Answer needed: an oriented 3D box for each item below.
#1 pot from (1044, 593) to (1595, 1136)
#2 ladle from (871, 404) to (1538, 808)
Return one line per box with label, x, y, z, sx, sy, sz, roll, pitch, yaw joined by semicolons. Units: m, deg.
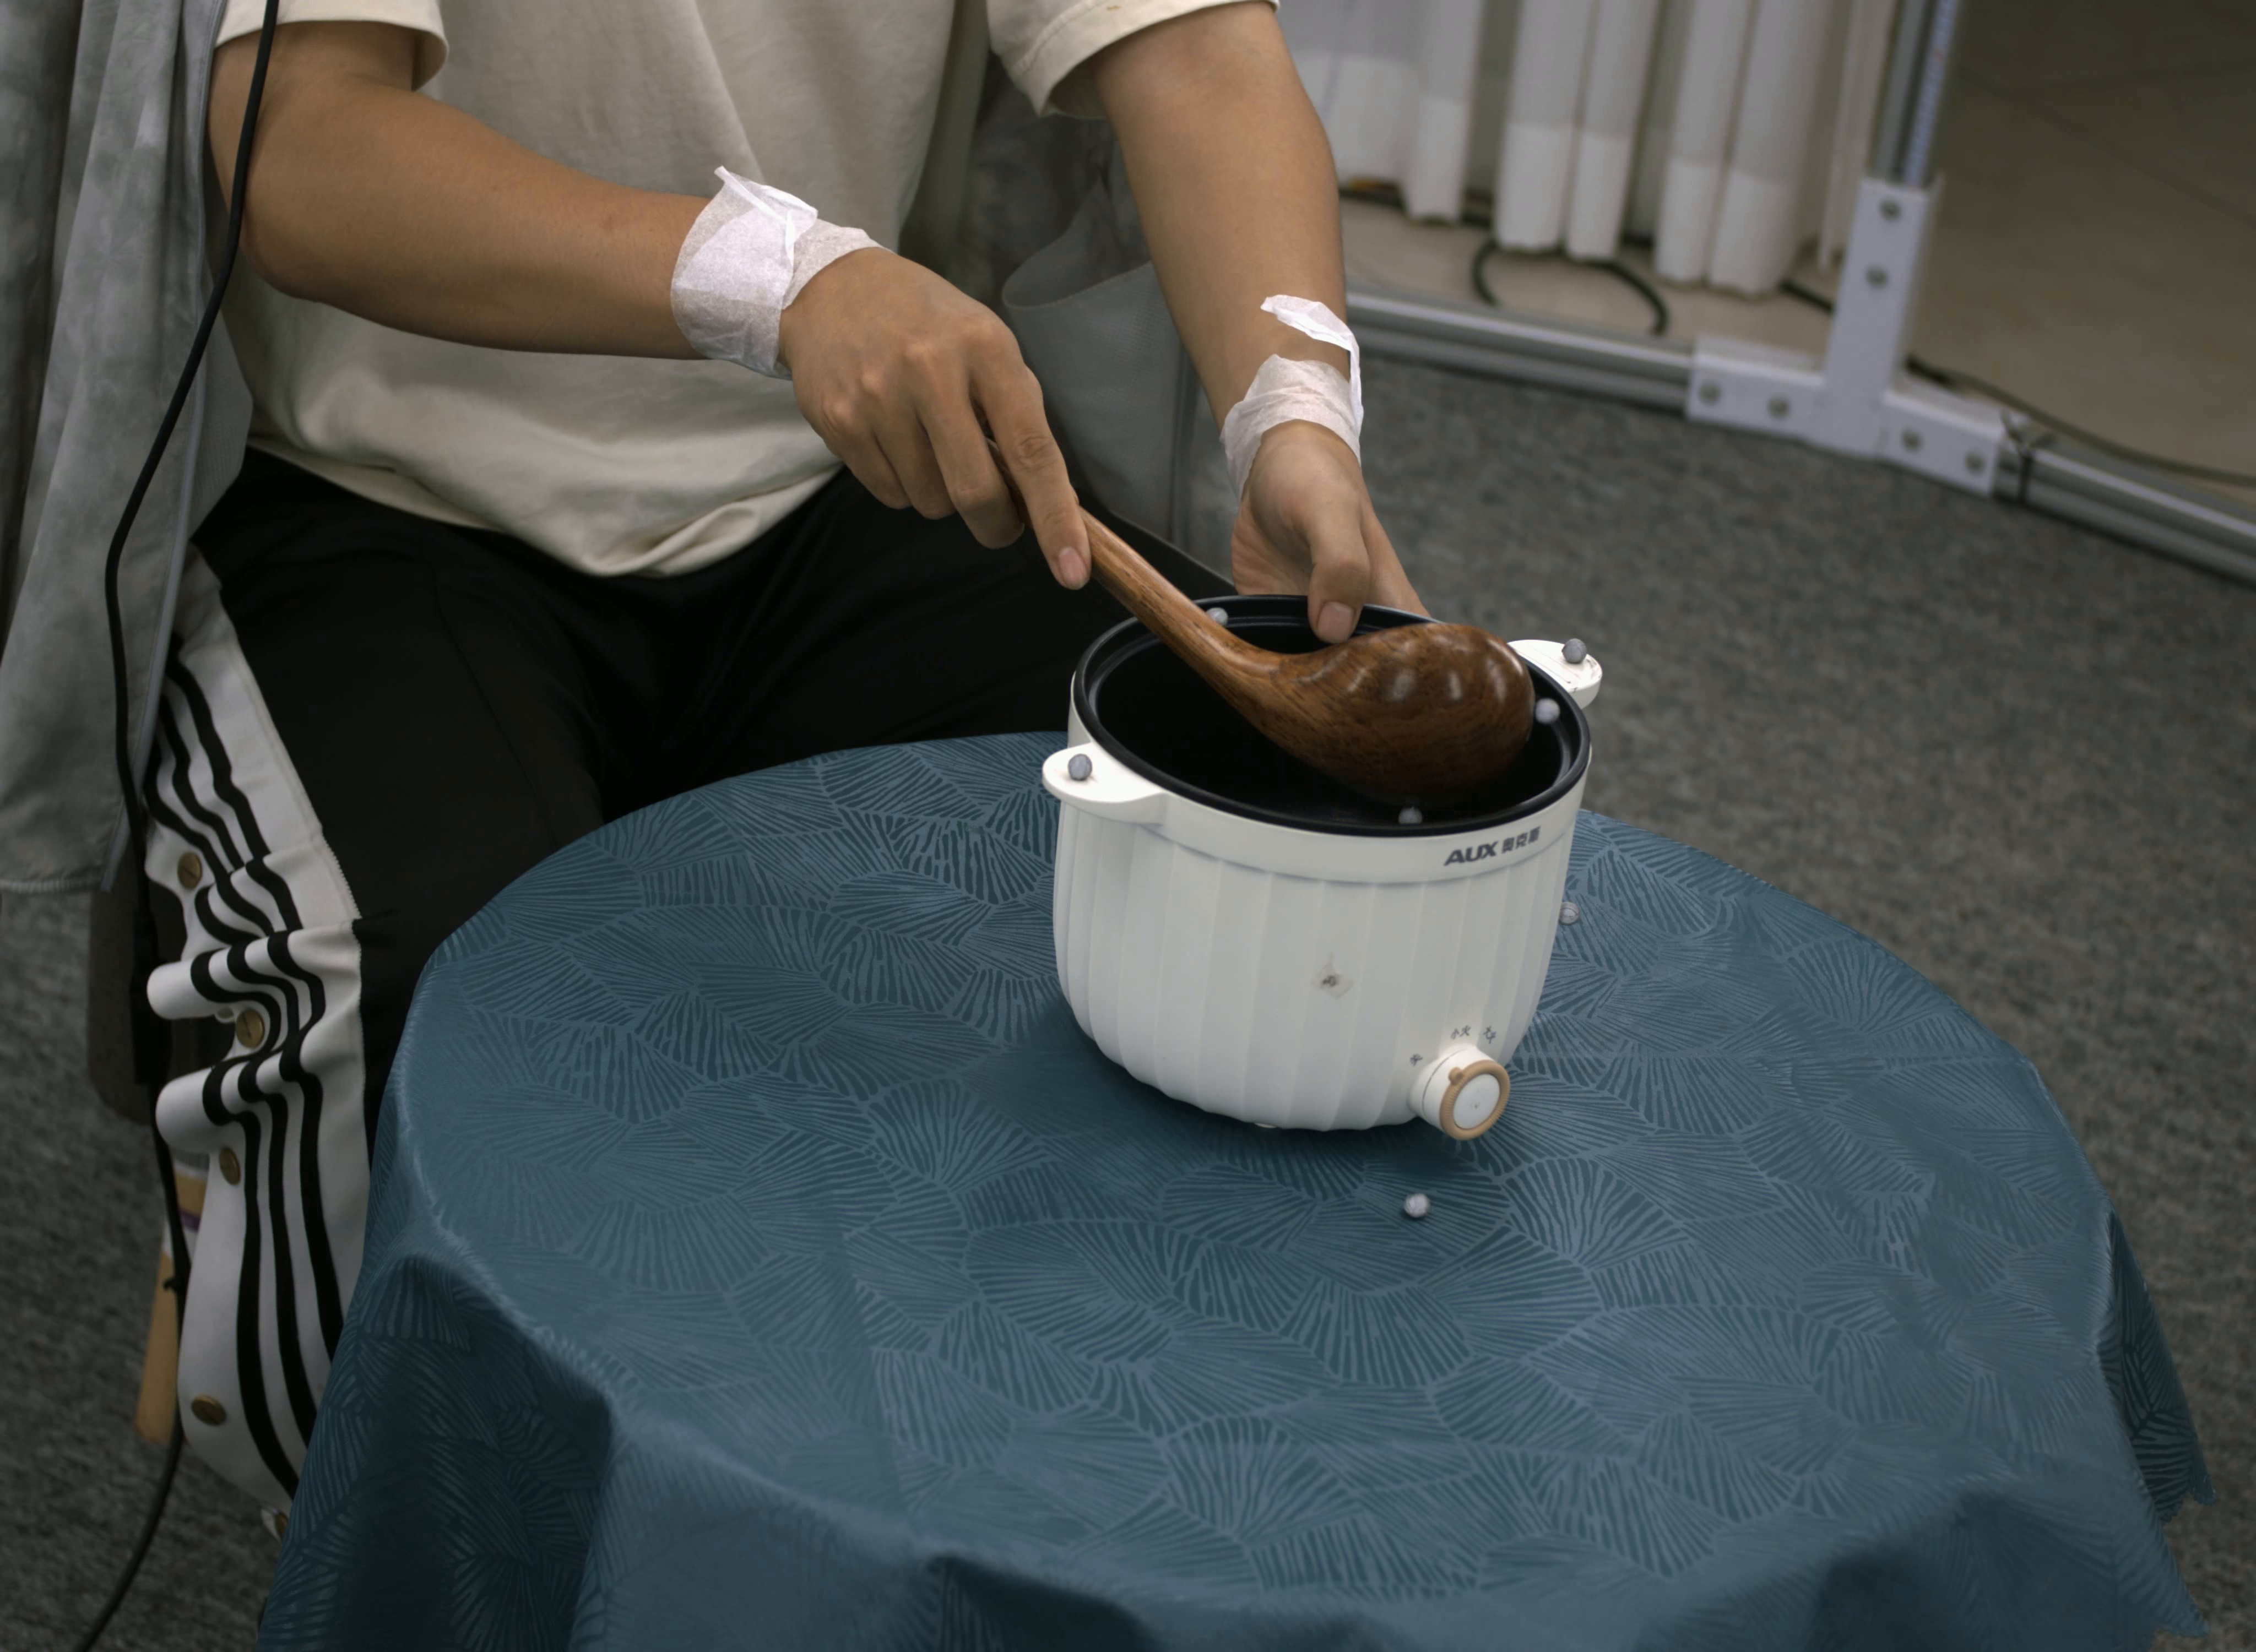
pot;0.068;0.019;1.873;0.239;0.142;0.192;-15;31;-35
ladle;0.027;-0.093;1.864;0.076;0.081;0.276;-32;52;-30
